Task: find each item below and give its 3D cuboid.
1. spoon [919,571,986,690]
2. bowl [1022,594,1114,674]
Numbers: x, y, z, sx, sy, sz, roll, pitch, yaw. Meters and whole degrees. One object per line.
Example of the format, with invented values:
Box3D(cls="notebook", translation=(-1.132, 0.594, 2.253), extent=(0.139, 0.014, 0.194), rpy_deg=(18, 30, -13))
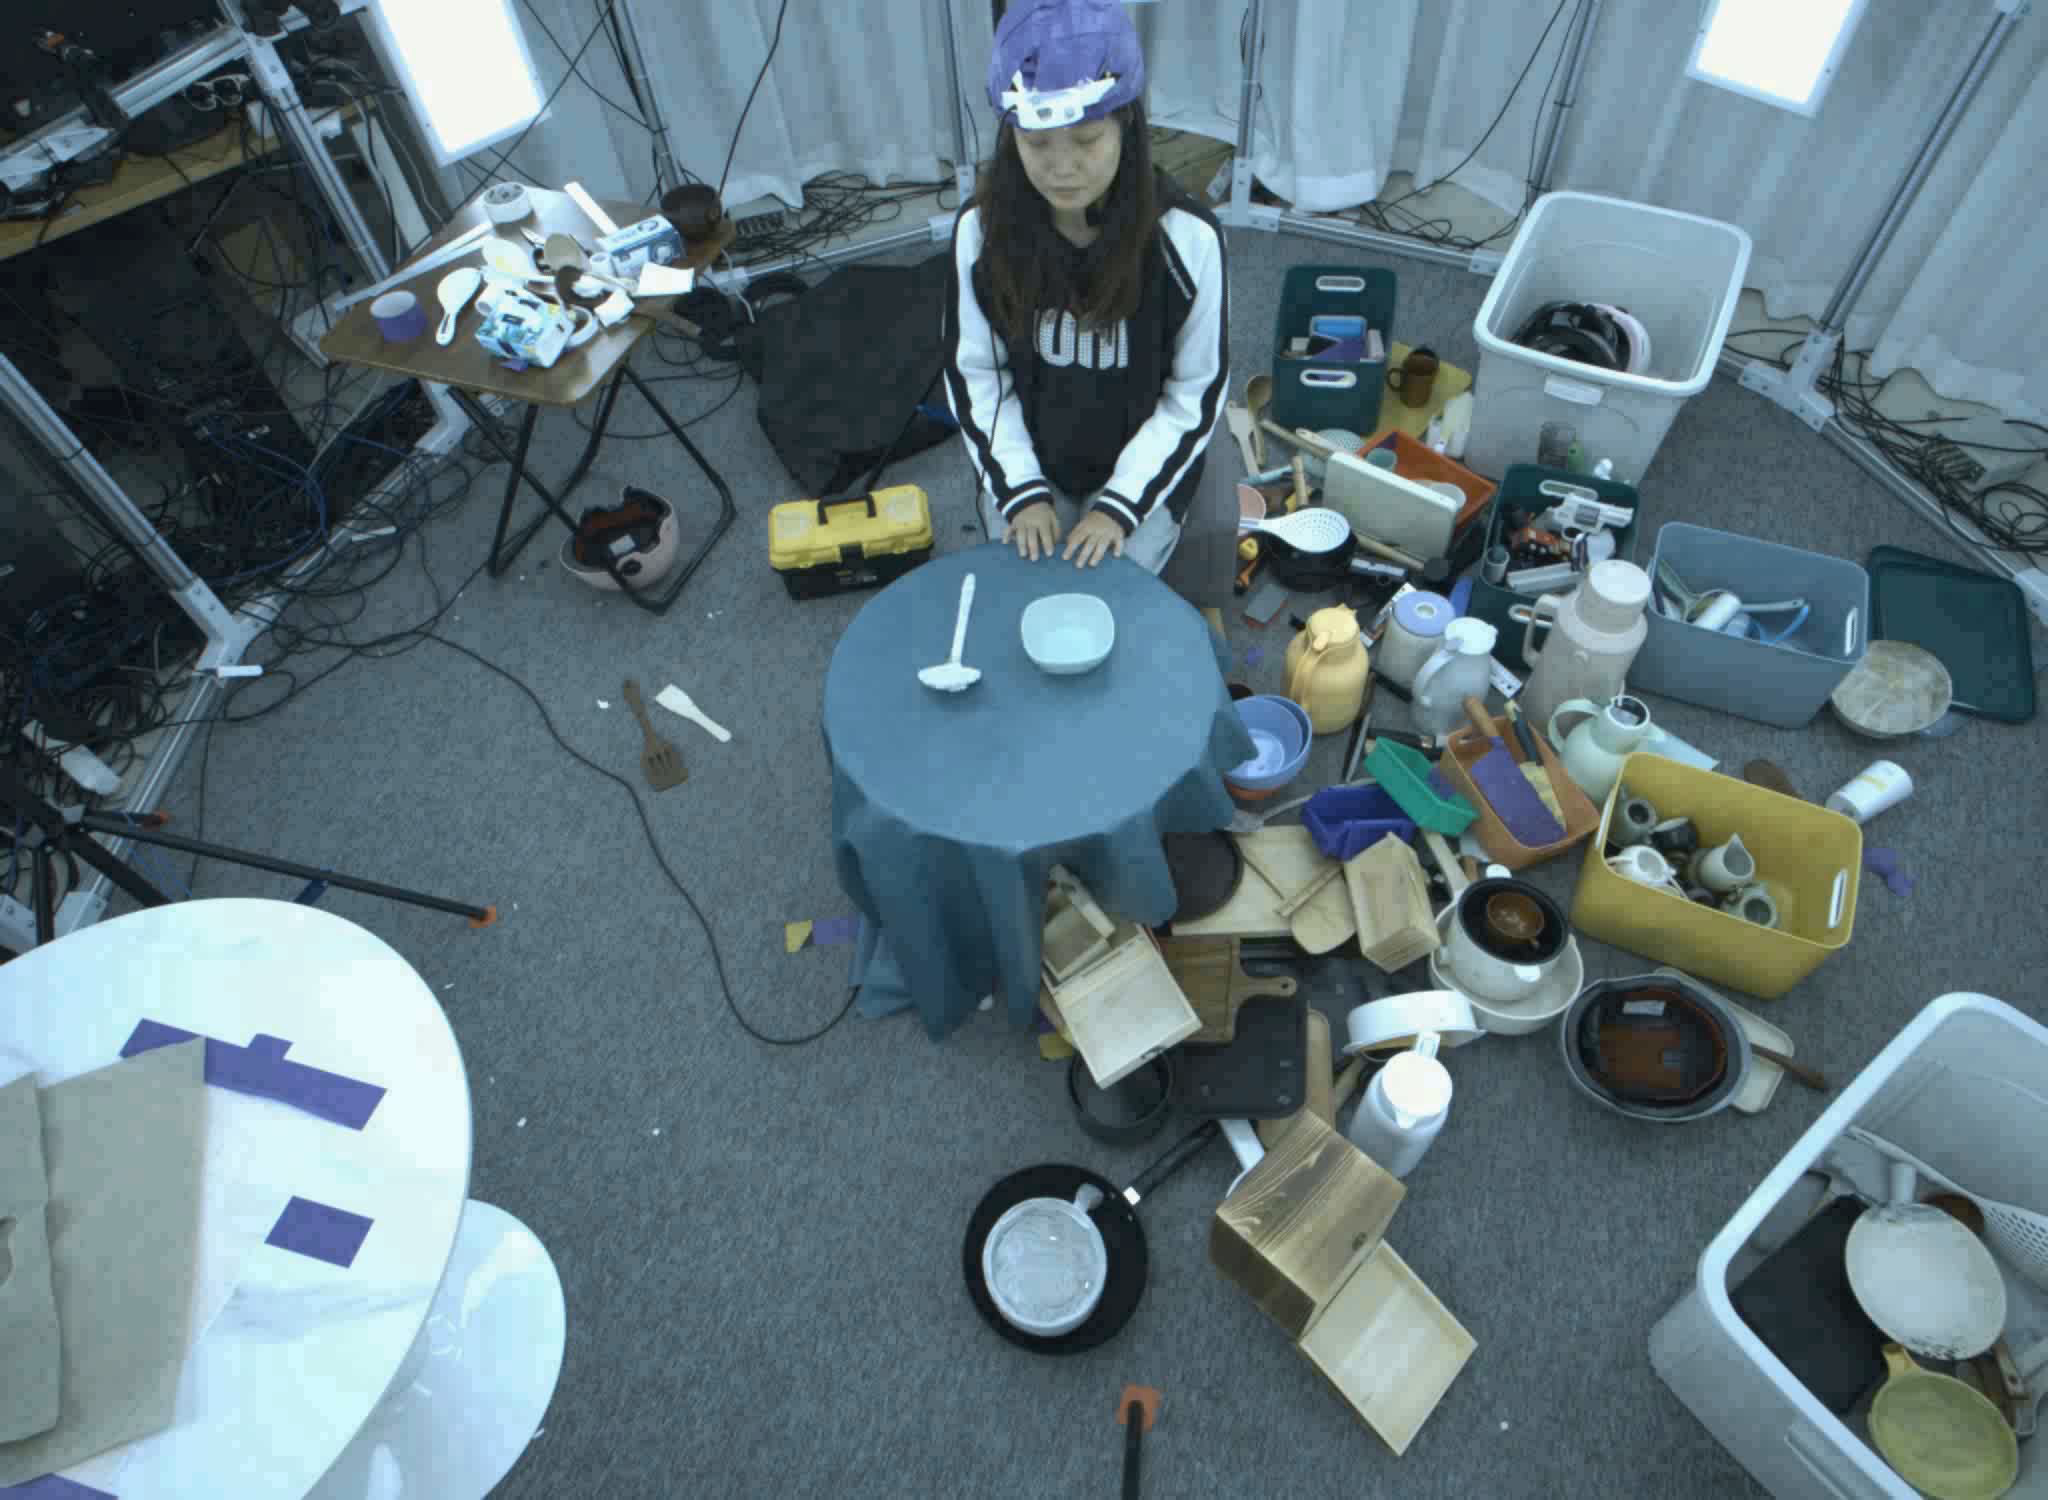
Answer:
Box3D(cls="spoon", translation=(-0.093, -0.192, 1.891), extent=(0.100, 0.060, 0.275), rpy_deg=(9, 56, 3))
Box3D(cls="bowl", translation=(0.068, -0.167, 1.871), extent=(0.151, 0.059, 0.150), rpy_deg=(-1, 55, 2))
